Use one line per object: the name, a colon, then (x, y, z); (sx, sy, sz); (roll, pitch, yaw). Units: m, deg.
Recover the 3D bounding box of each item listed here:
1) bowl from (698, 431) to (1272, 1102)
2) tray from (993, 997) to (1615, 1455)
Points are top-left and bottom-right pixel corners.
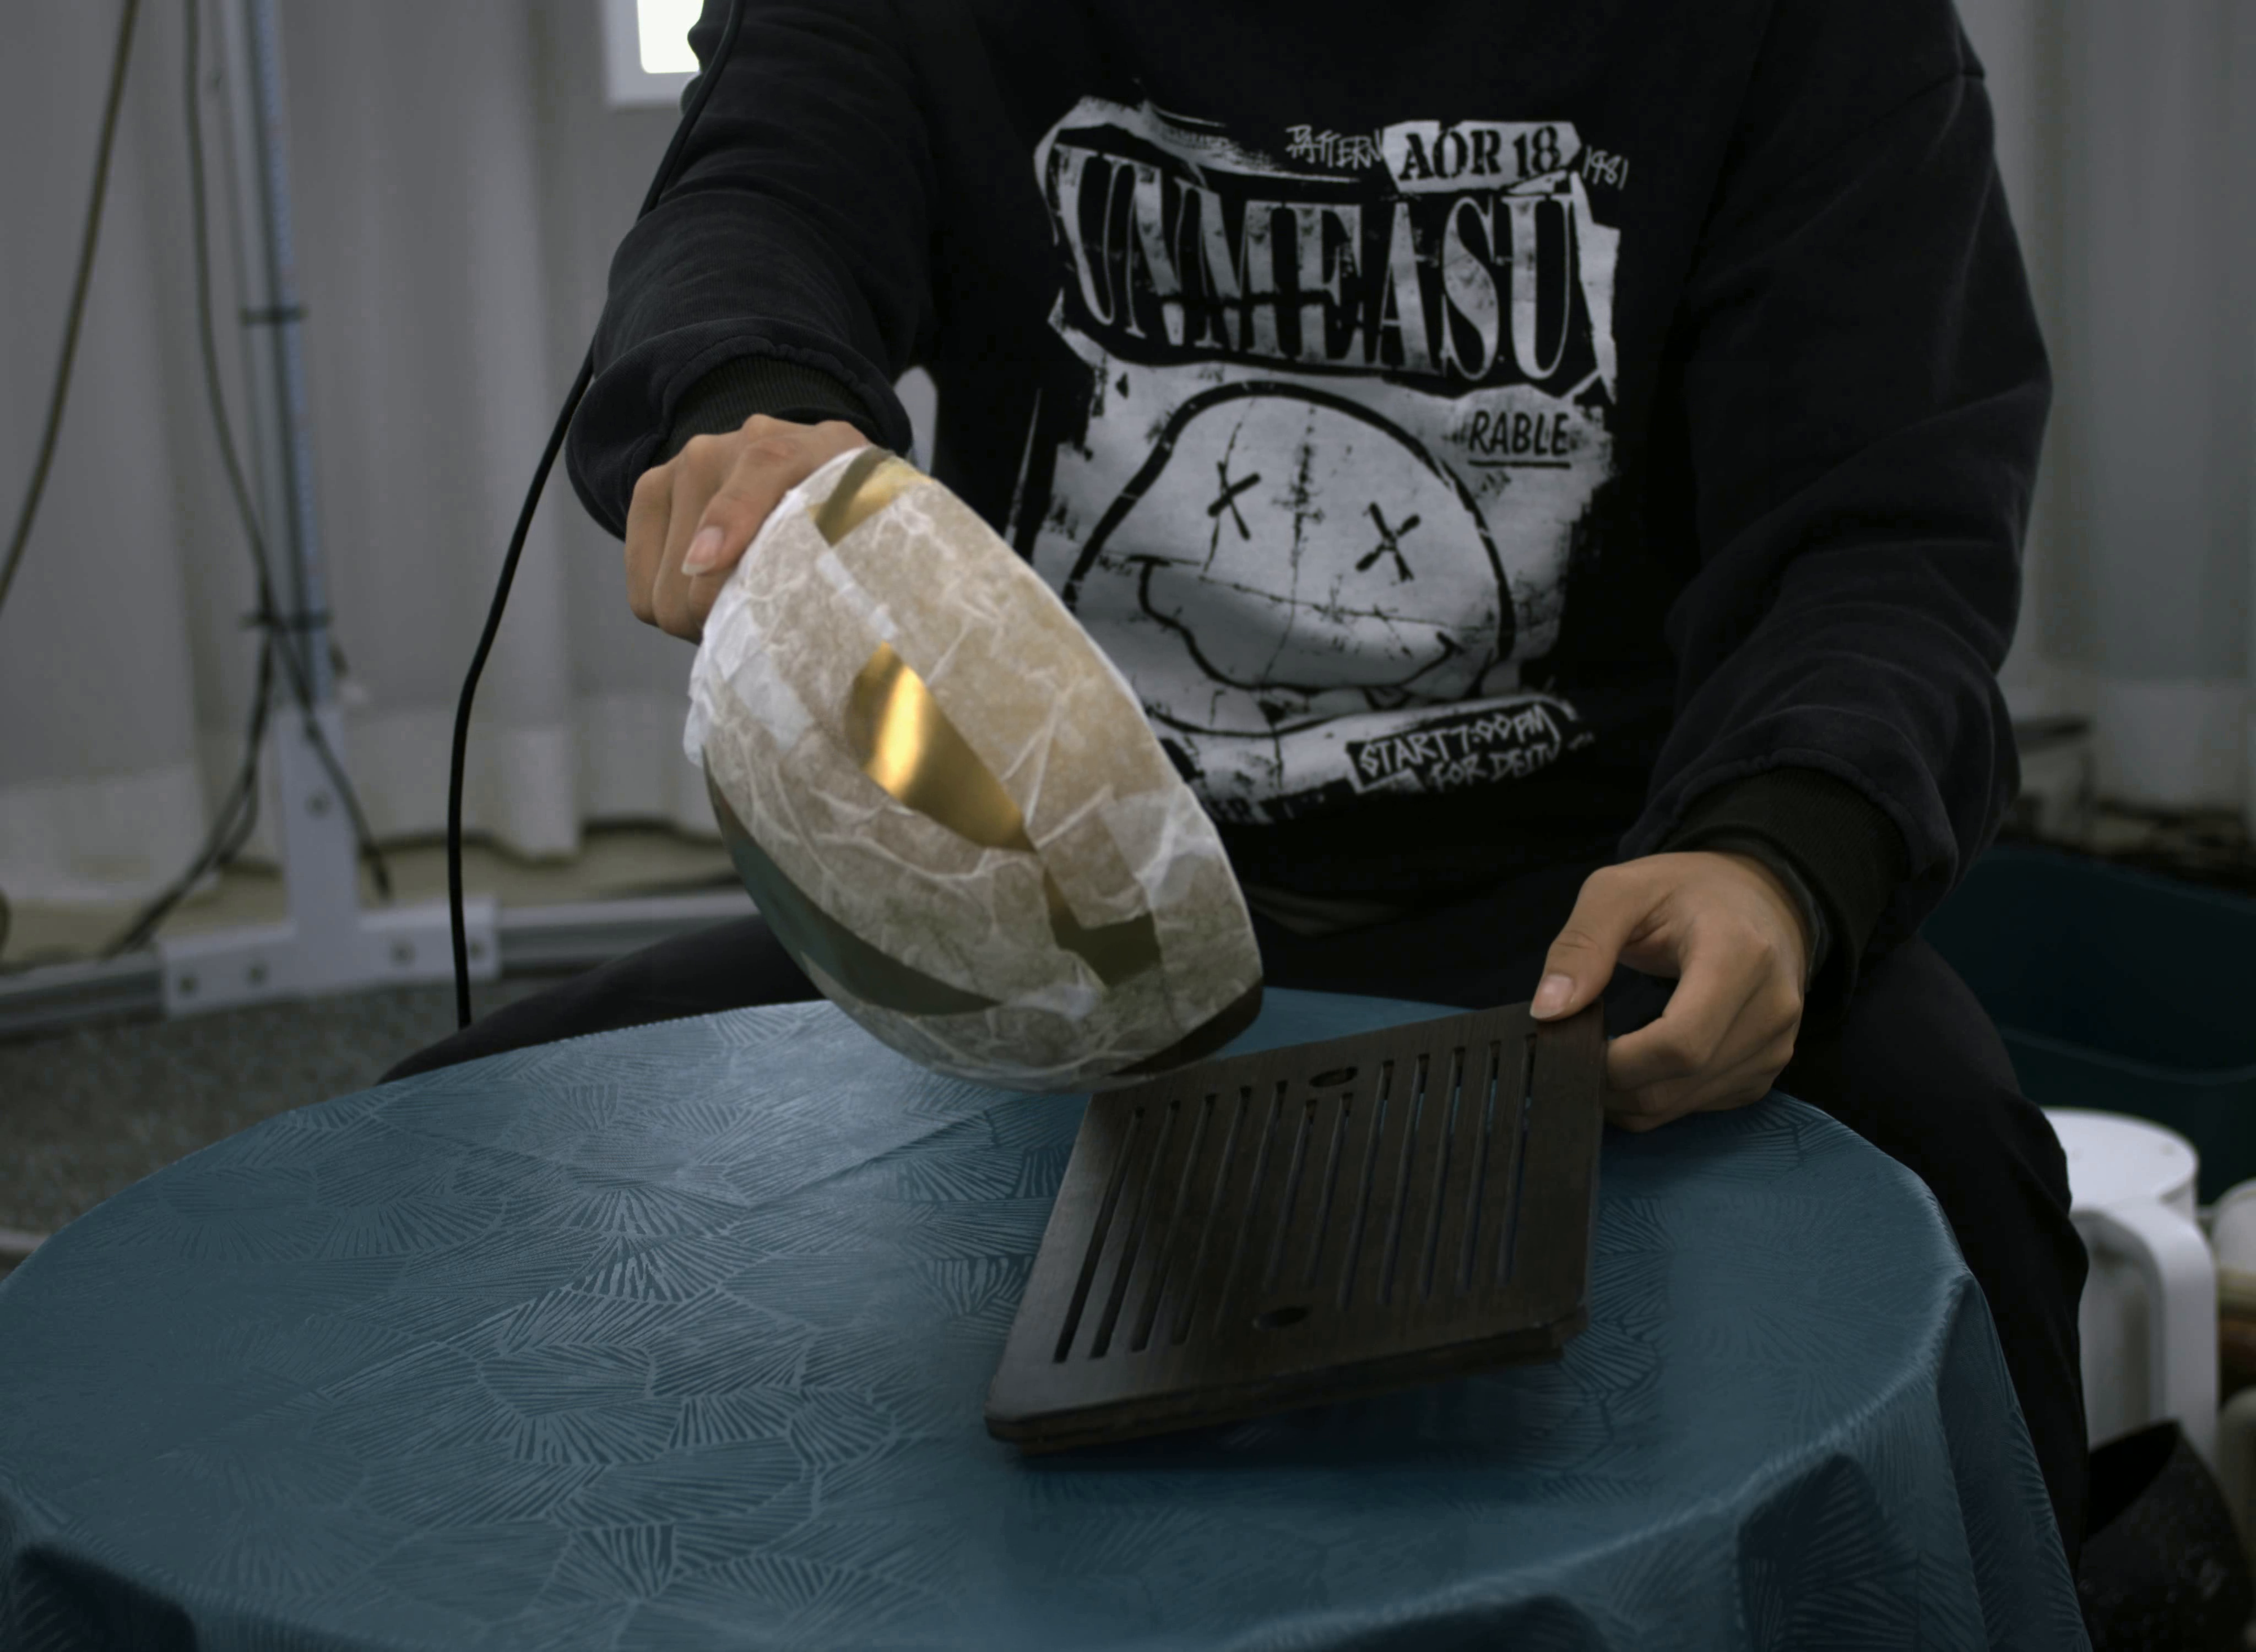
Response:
bowl: (-0.057, 0.003, 1.535); (0.094, 0.213, 0.216); (-36, 25, -15)
tray: (0.060, 0.115, 1.616); (0.170, 0.018, 0.308); (-11, 14, 9)
